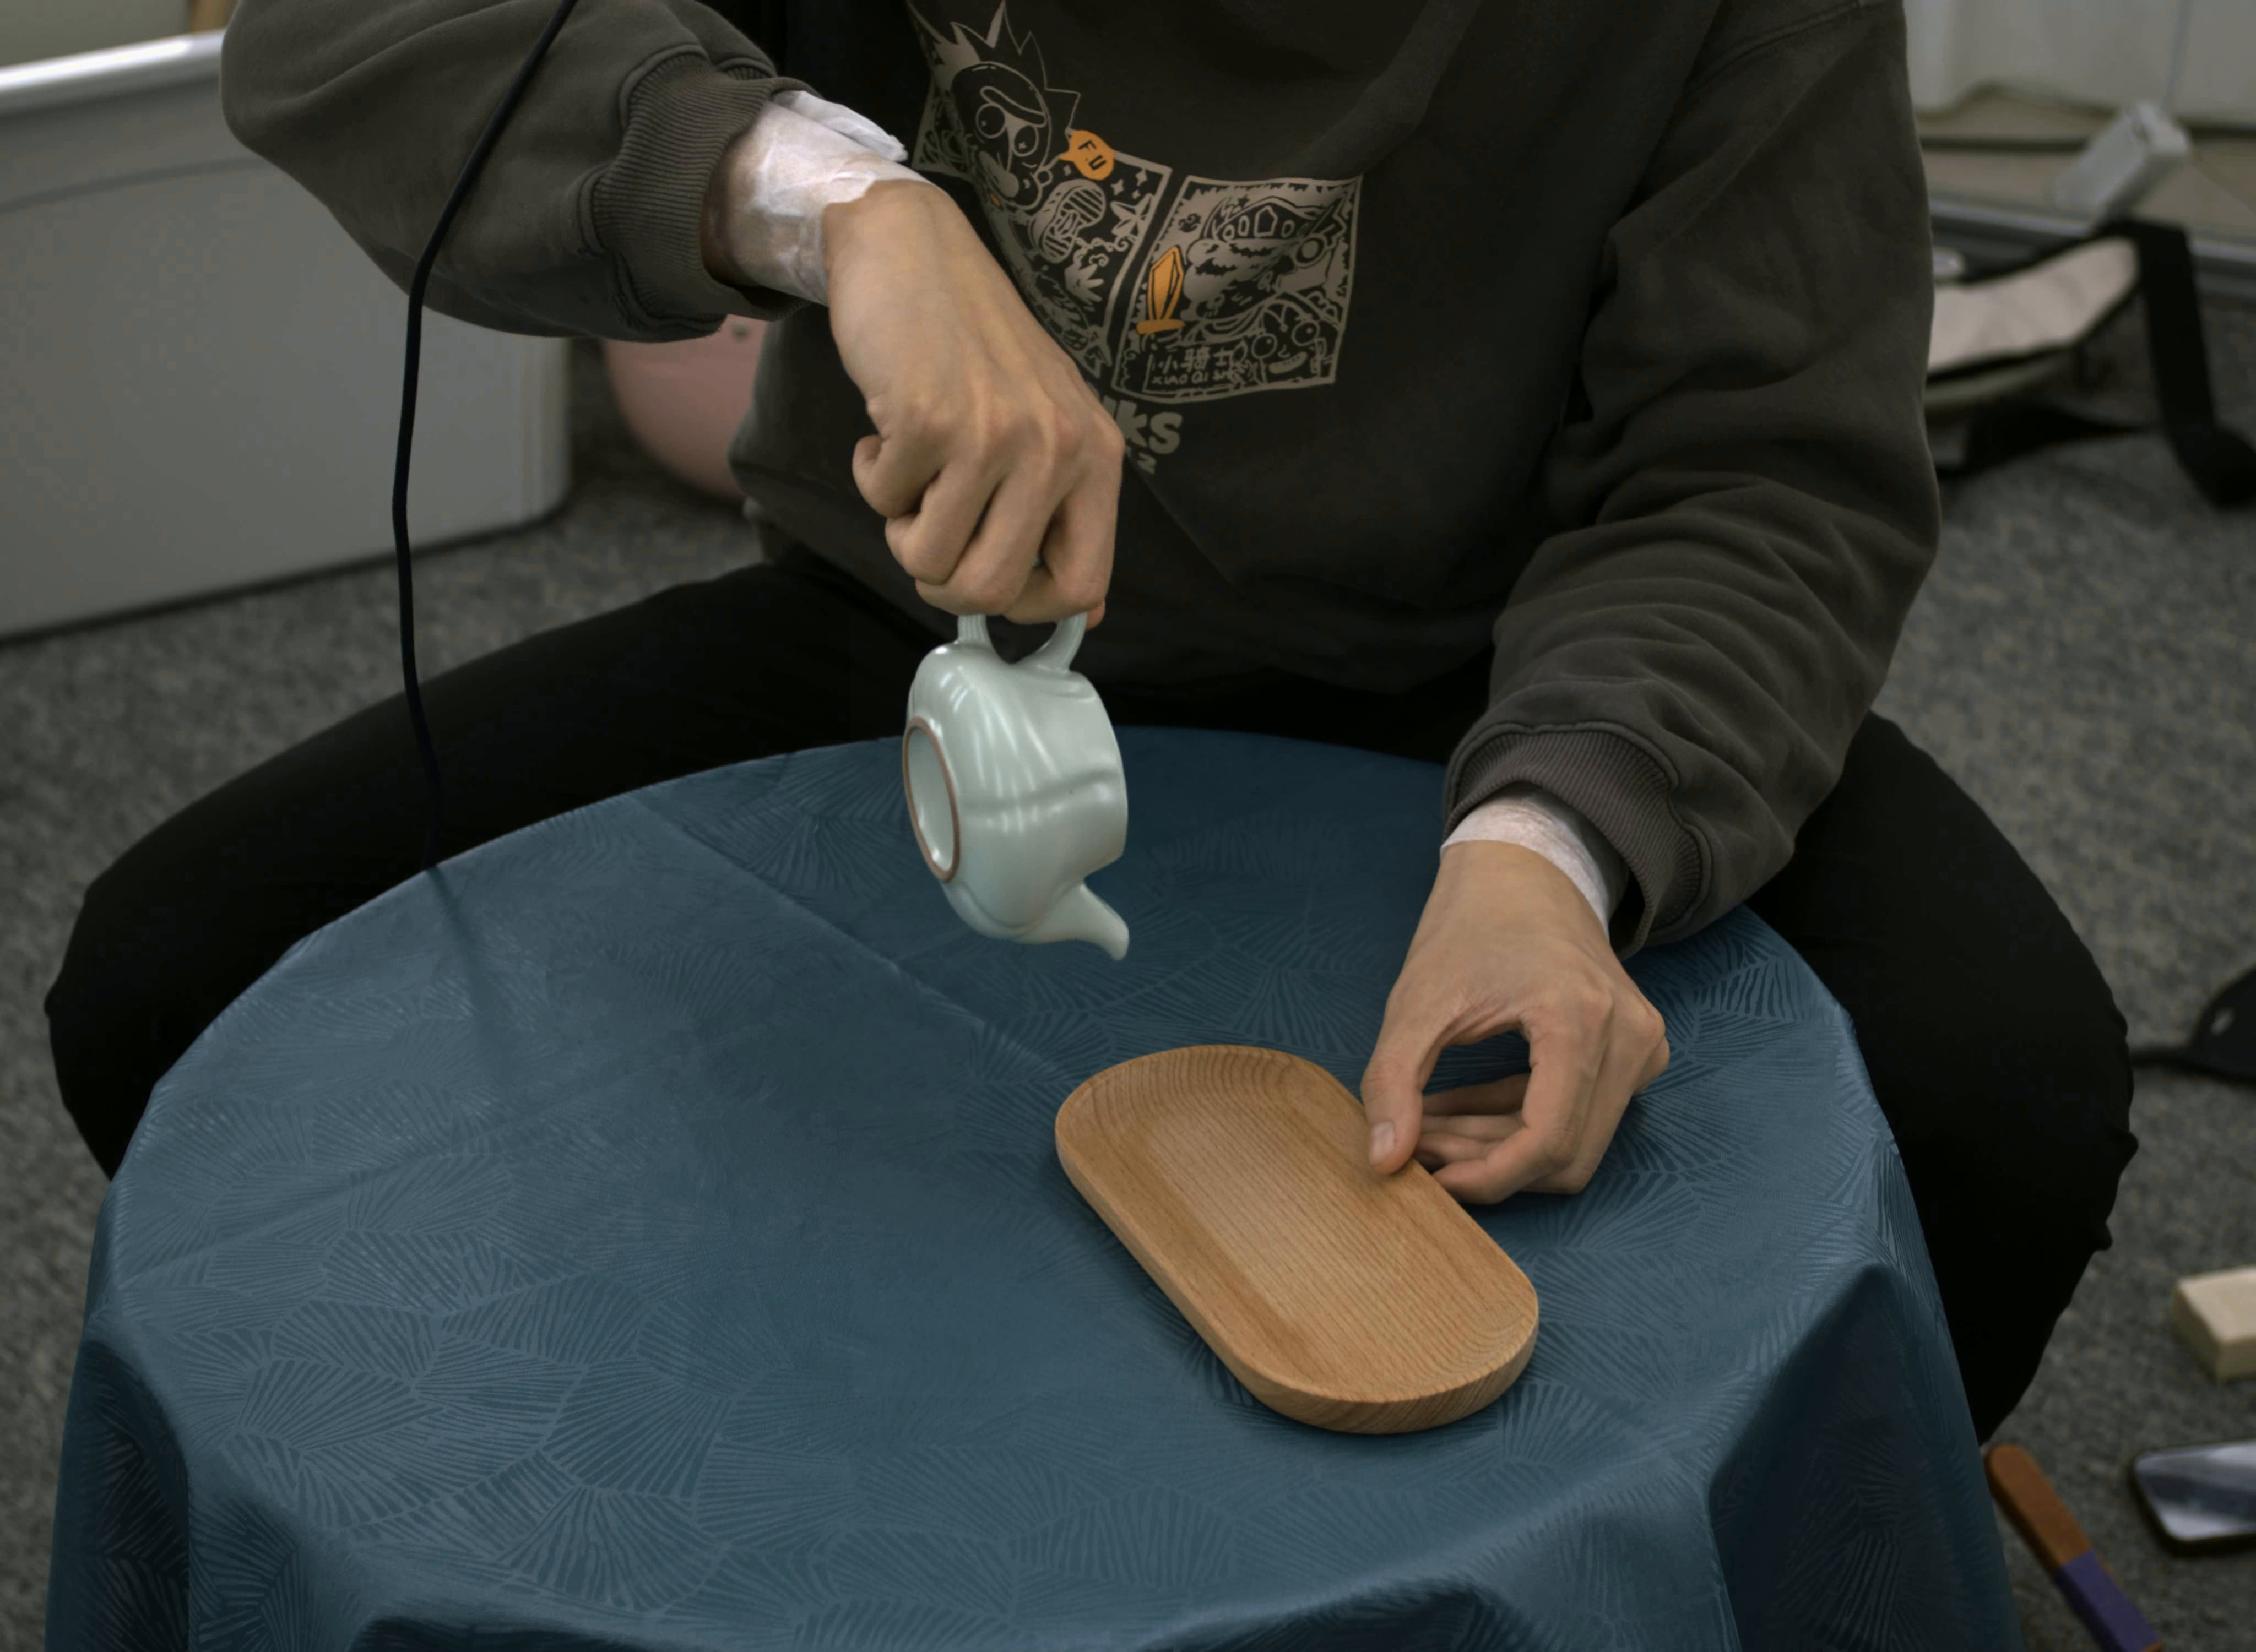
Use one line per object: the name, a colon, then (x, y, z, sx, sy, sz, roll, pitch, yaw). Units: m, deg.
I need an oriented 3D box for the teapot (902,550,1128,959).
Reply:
teapot: (-0.036, -0.019, 1.789, 0.061, 0.136, 0.096, -9, 13, -18)

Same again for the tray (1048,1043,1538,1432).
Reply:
tray: (0.051, 0.131, 1.819, 0.102, 0.020, 0.232, -14, 28, -20)
